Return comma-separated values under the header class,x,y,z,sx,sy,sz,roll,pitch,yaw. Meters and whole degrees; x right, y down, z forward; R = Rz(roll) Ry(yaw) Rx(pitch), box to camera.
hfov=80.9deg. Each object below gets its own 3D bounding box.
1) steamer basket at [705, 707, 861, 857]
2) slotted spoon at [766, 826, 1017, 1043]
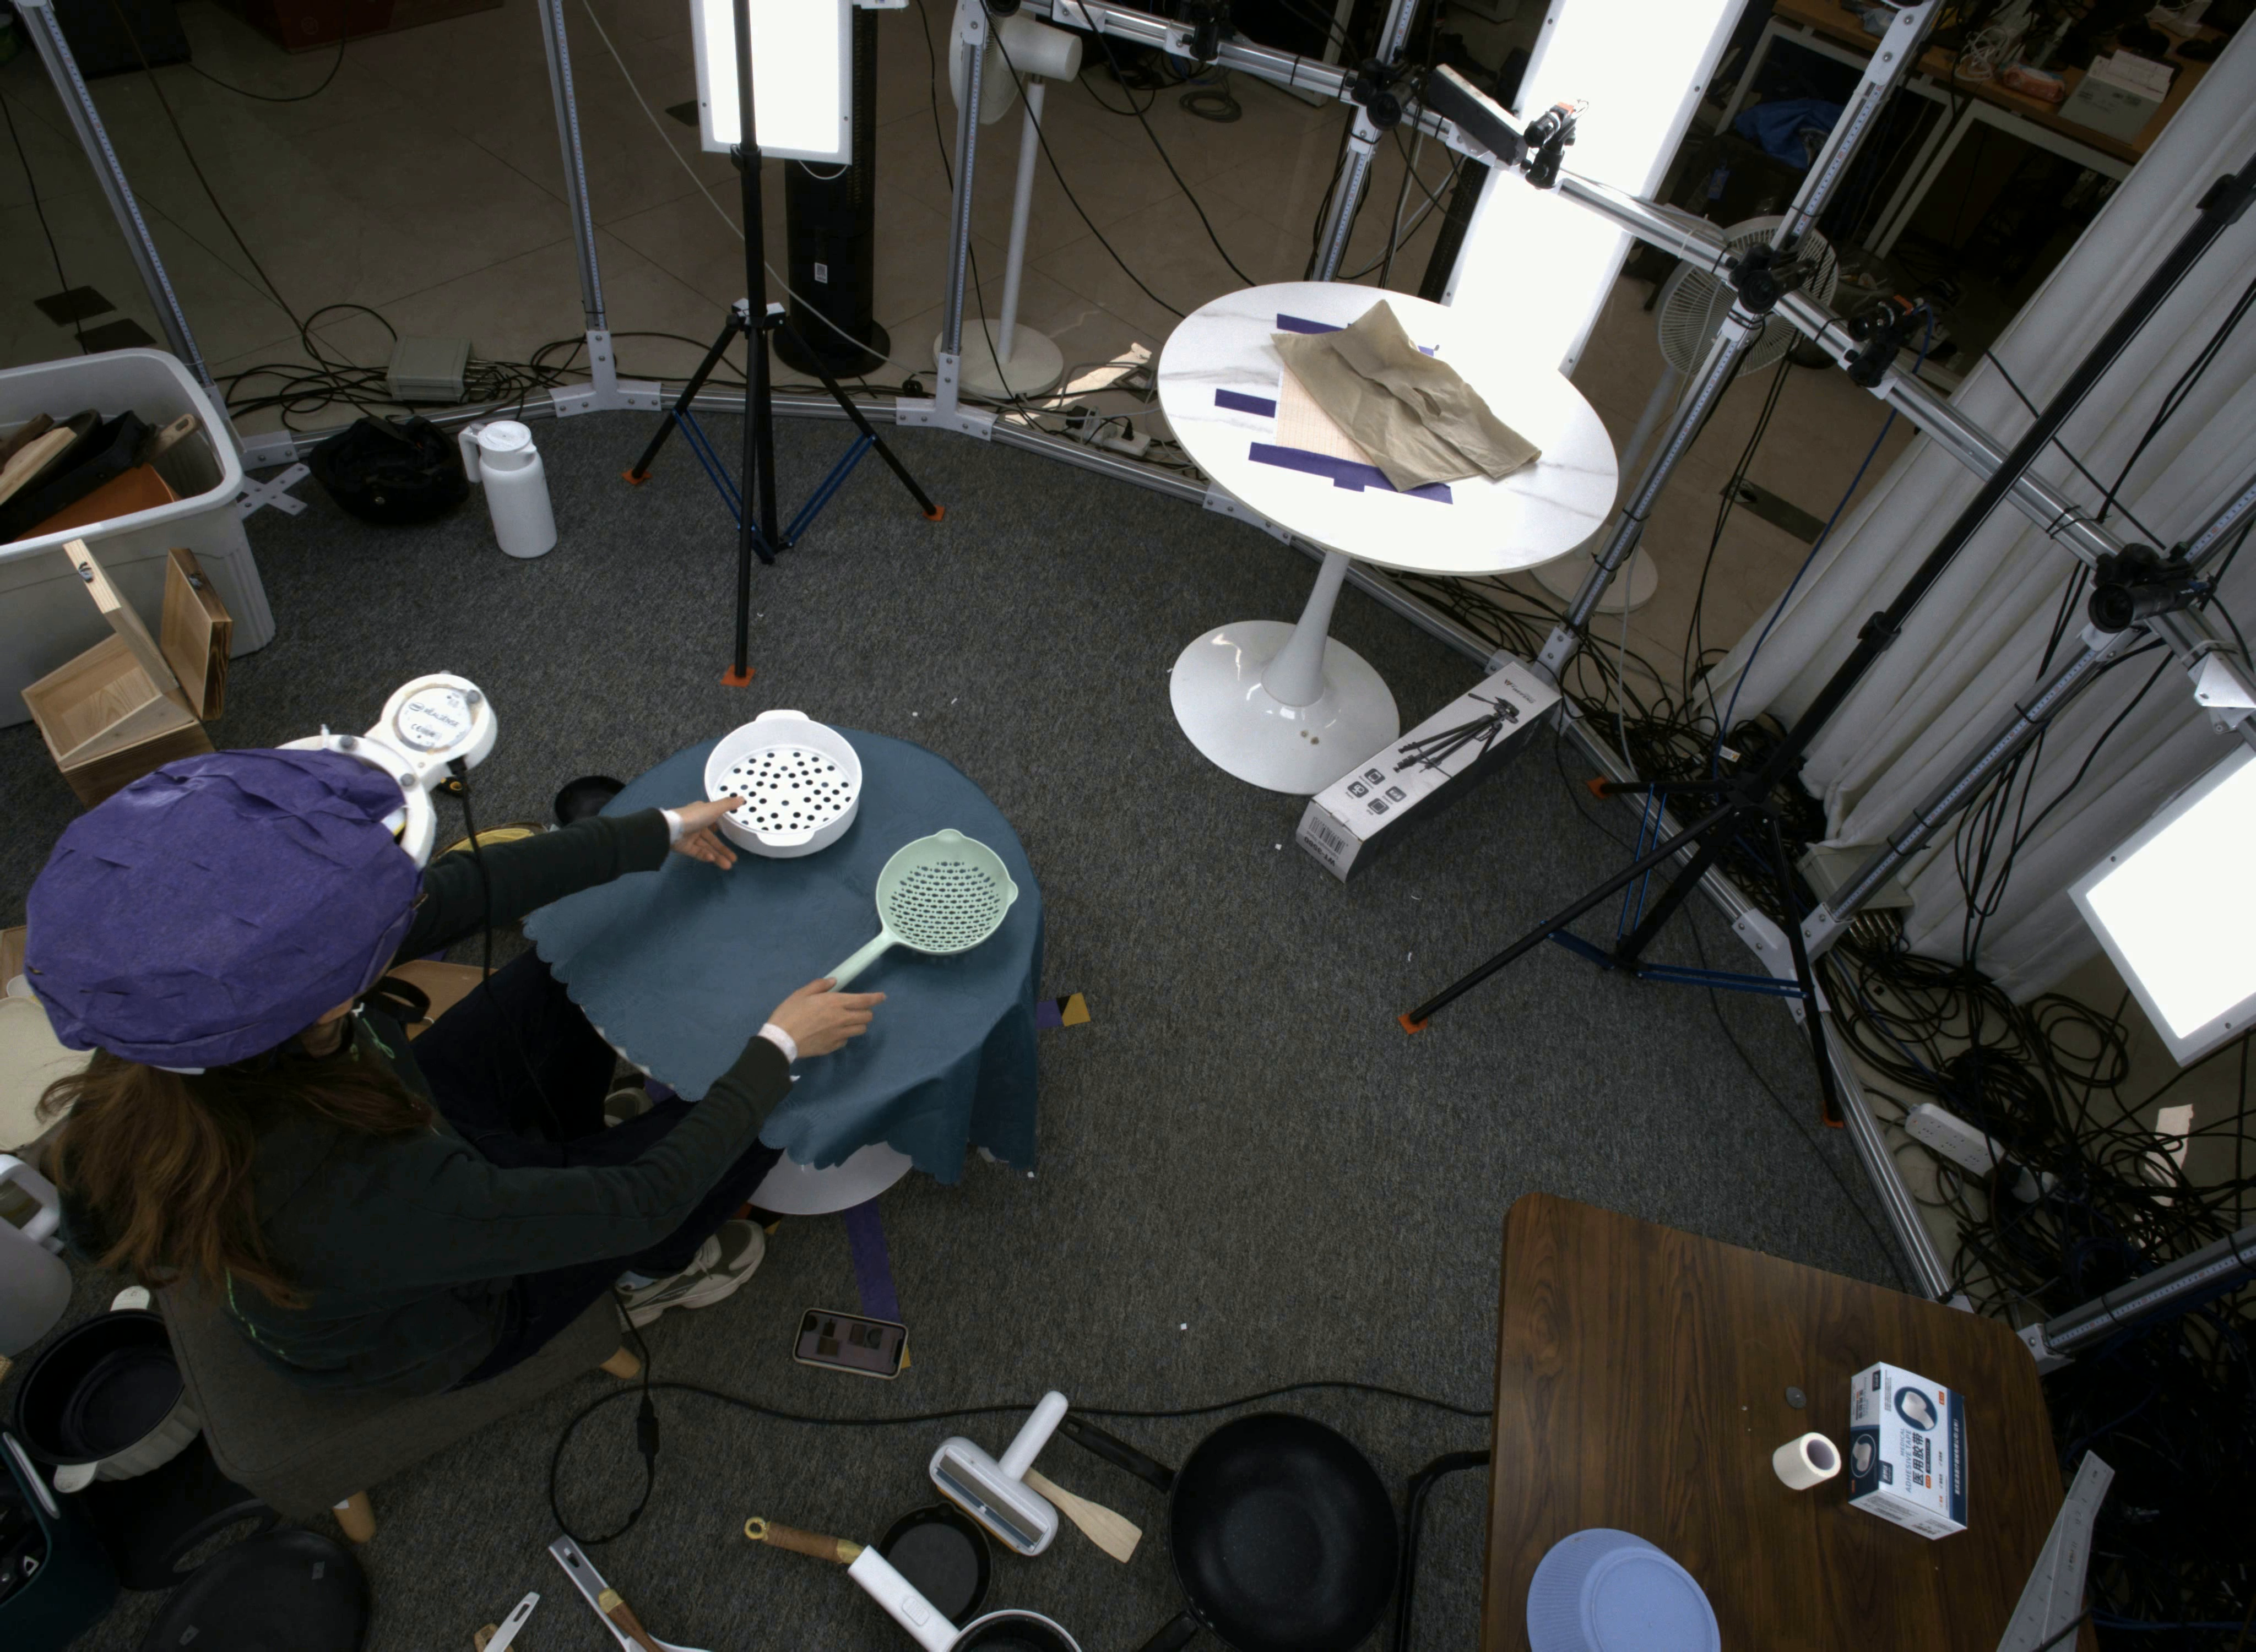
class,x,y,z,sx,sy,sz,roll,pitch,yaw
steamer basket,-0.456,-0.053,1.720,0.202,0.070,0.225,-4,56,-15
slotted spoon,-0.301,0.142,1.613,0.165,0.077,0.359,41,55,18
